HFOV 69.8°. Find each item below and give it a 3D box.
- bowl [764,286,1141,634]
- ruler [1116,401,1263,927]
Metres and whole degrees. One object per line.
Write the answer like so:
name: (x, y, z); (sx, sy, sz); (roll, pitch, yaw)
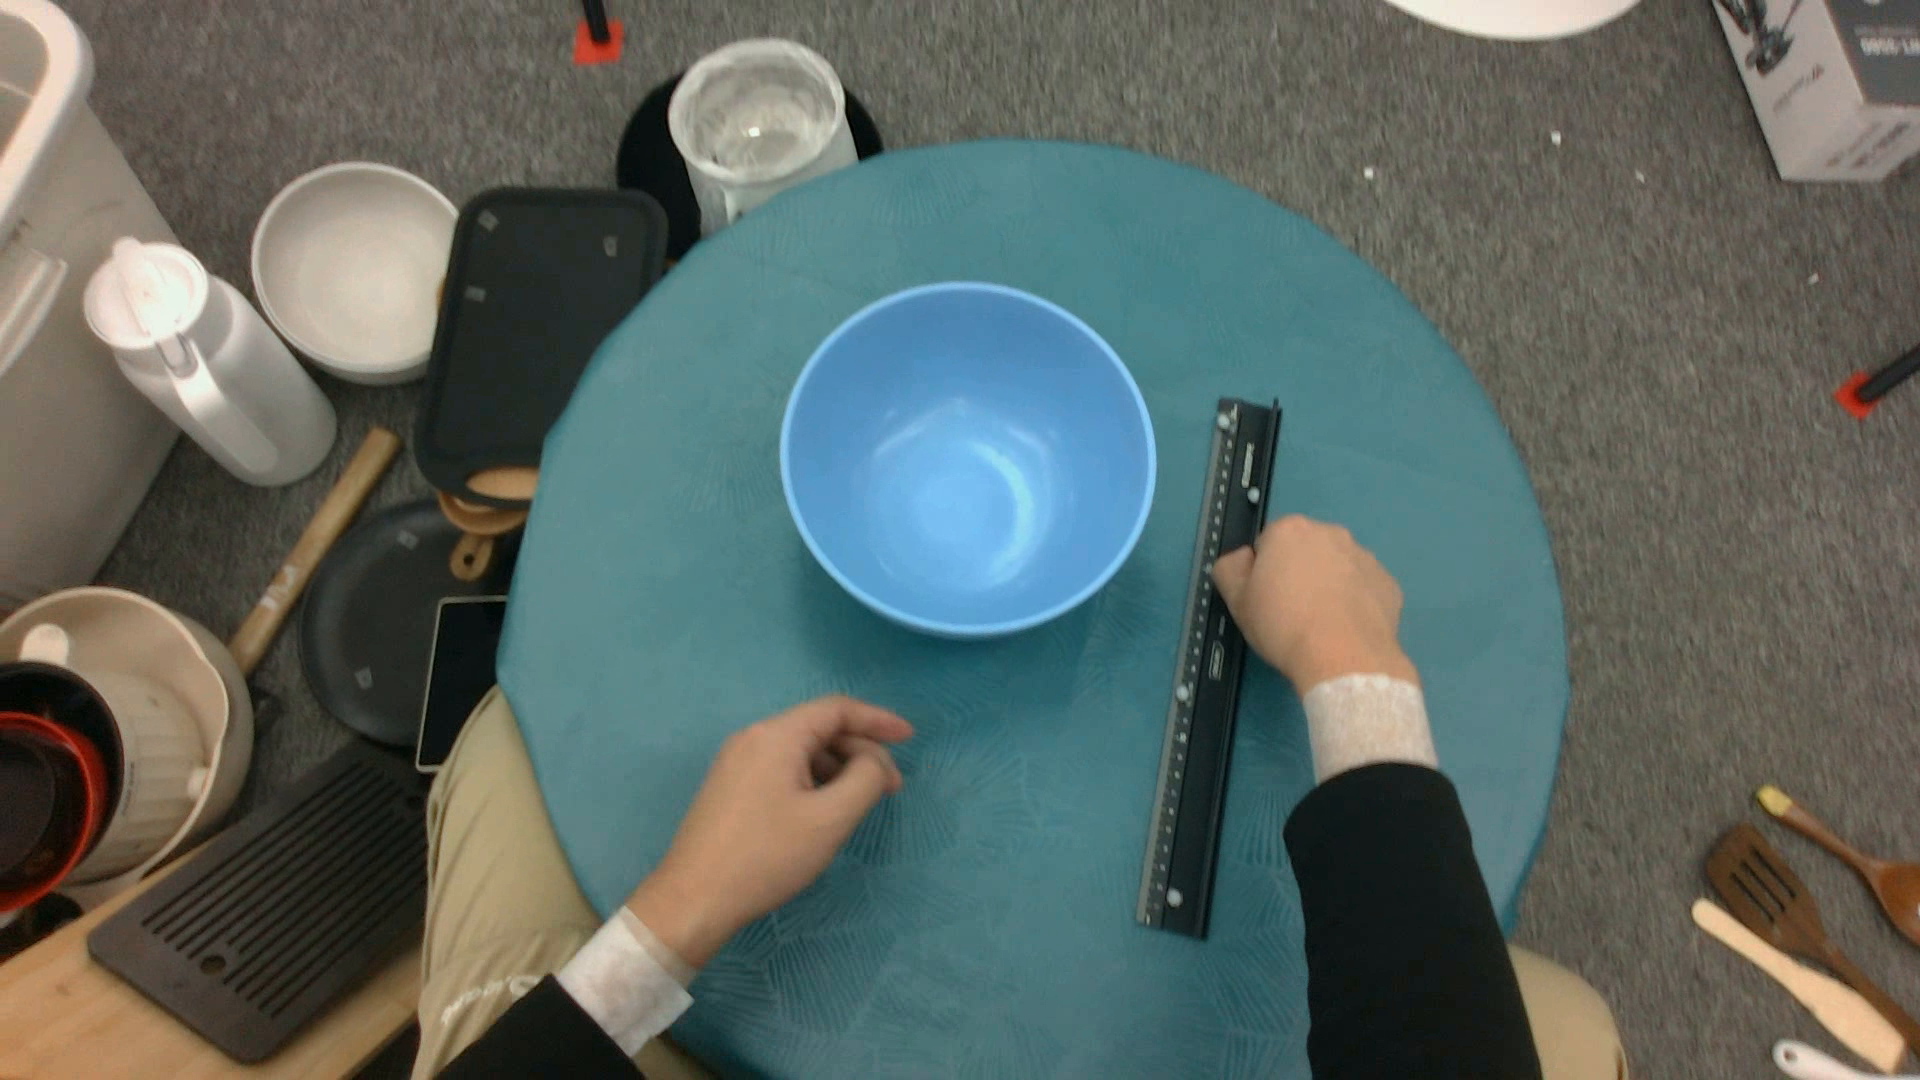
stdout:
bowl: (-0.006, -0.031, 0.757); (0.196, 0.095, 0.197); (1, 68, -3)
ruler: (0.133, 0.056, 0.776); (0.039, 0.017, 0.313); (11, 68, 6)
